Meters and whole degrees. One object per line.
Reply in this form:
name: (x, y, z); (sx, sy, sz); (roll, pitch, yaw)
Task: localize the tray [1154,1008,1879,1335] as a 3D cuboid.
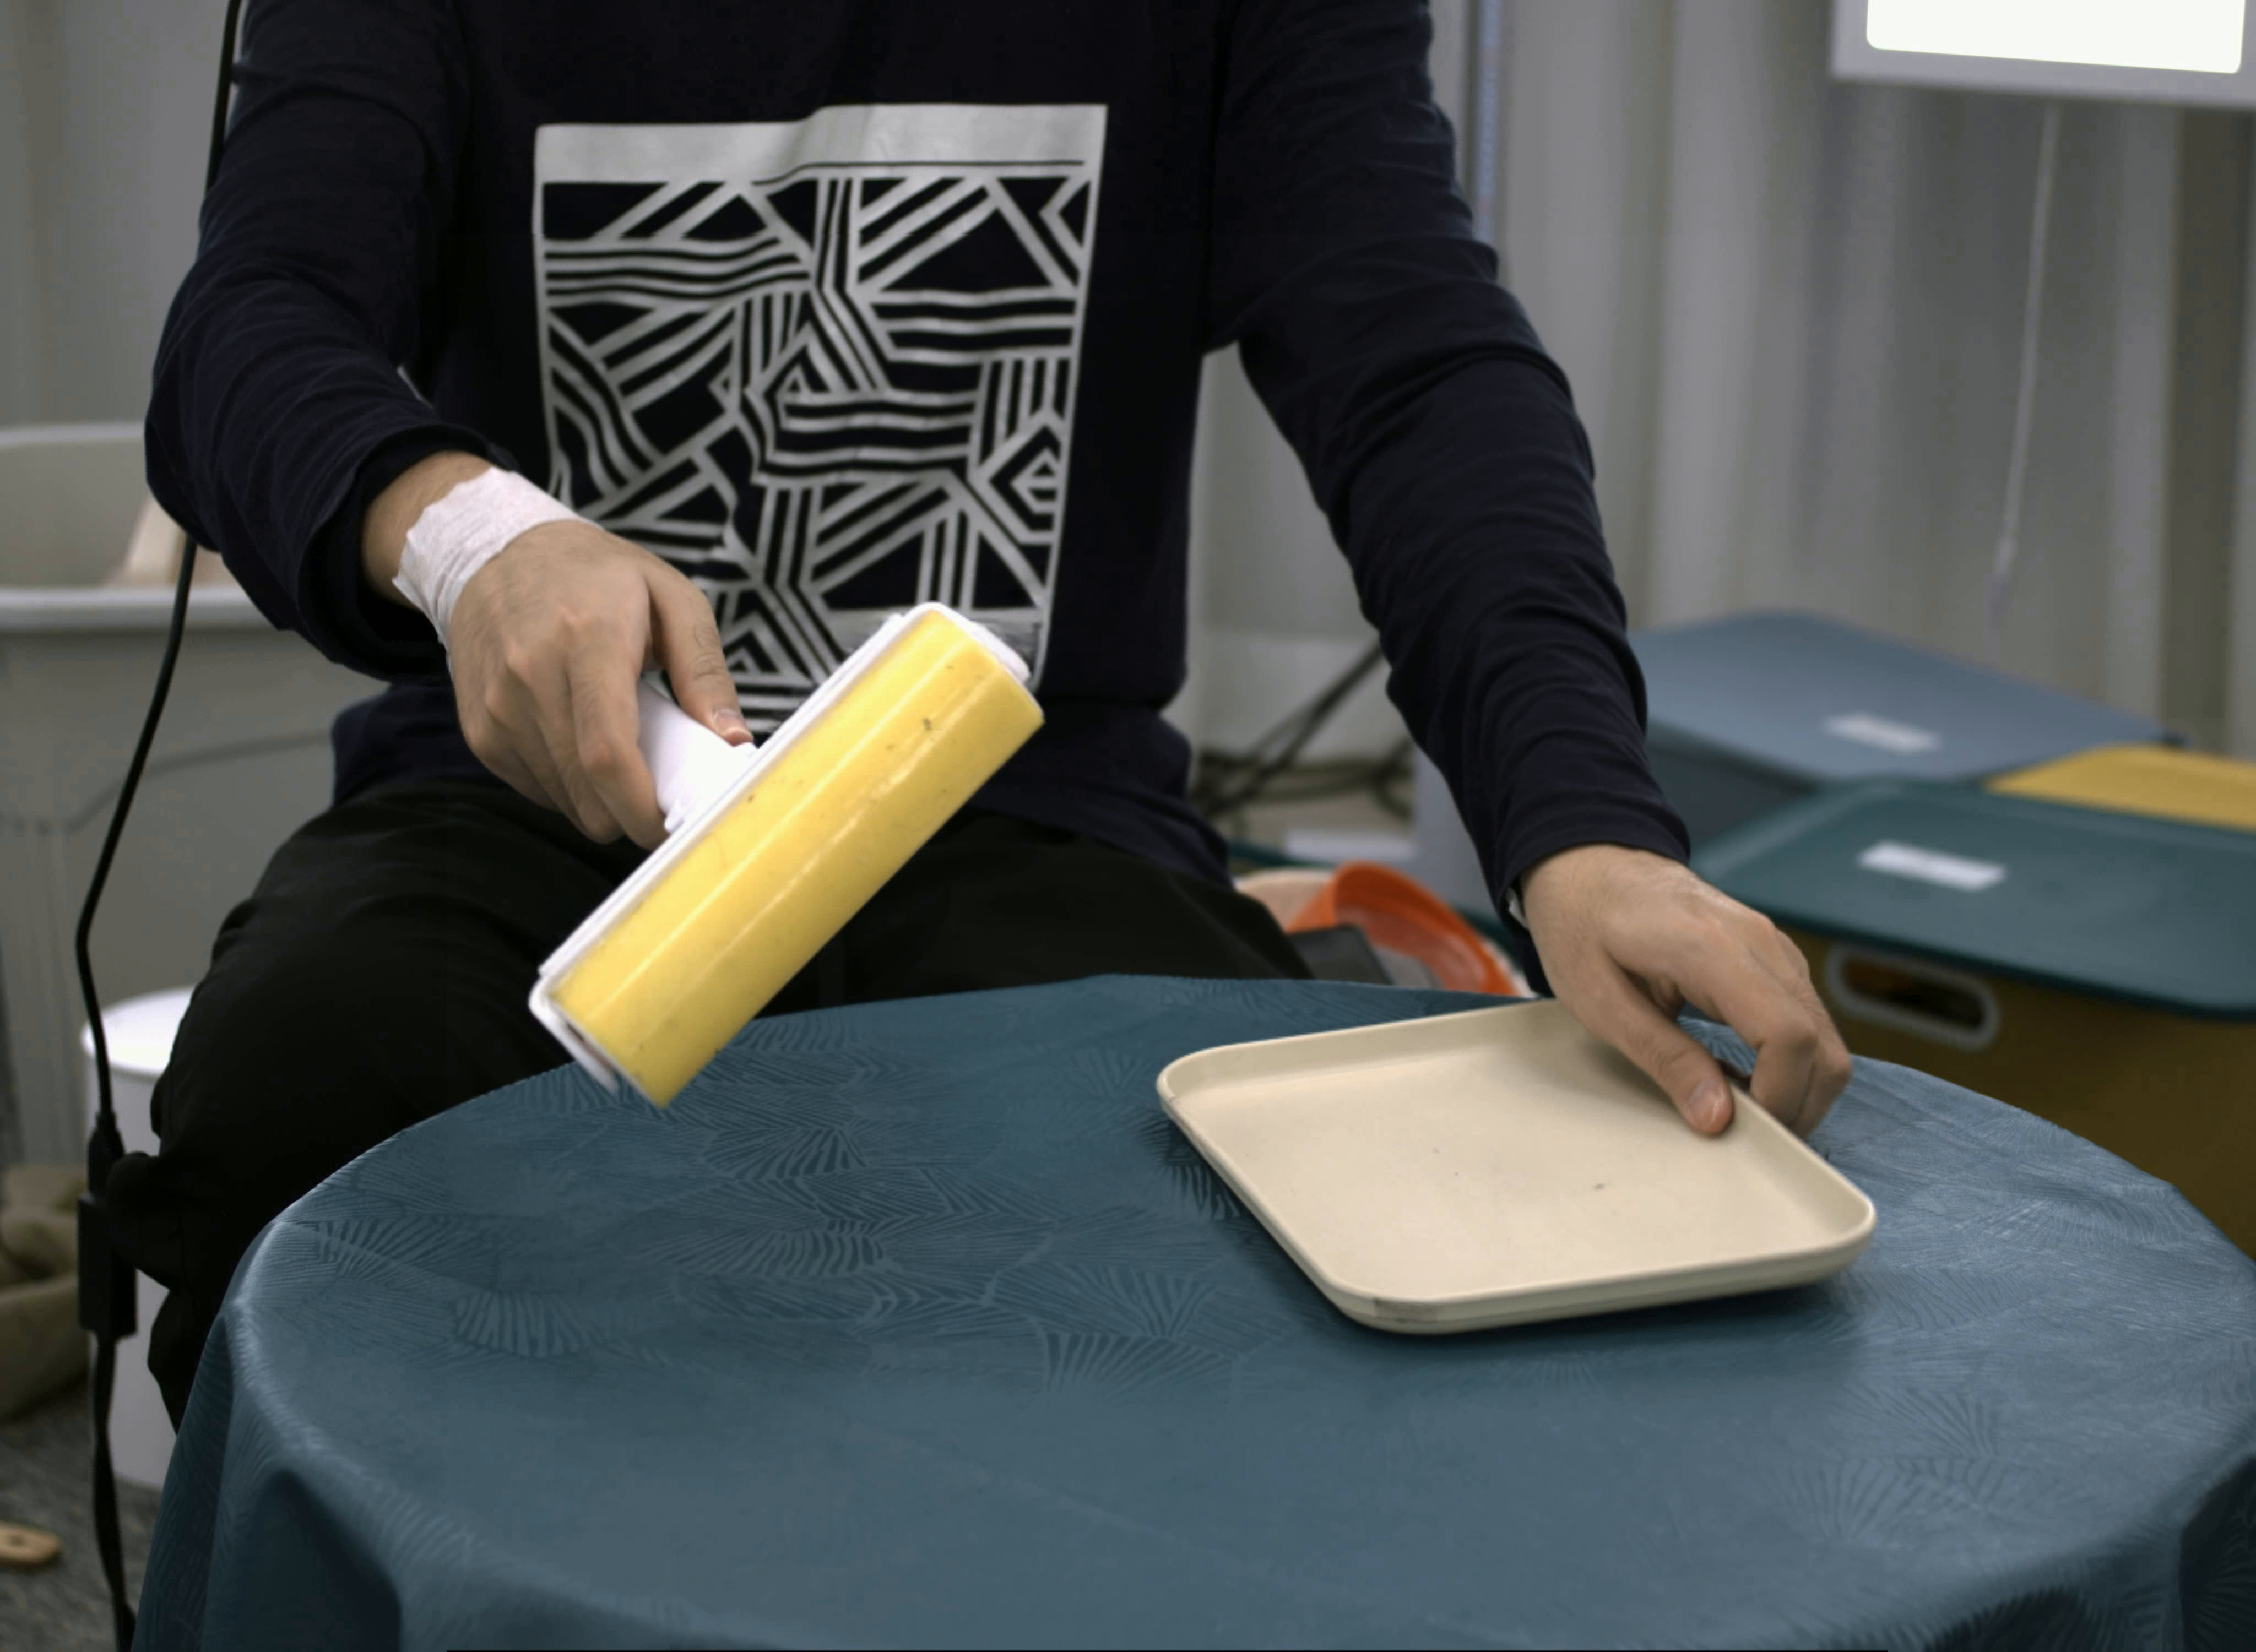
tray: (0.115, 0.104, 1.615); (0.171, 0.017, 0.237); (-5, 17, -15)

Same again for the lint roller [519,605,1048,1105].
lint roller: (-0.137, -0.020, 1.575); (0.174, 0.052, 0.189); (-45, 46, -10)
